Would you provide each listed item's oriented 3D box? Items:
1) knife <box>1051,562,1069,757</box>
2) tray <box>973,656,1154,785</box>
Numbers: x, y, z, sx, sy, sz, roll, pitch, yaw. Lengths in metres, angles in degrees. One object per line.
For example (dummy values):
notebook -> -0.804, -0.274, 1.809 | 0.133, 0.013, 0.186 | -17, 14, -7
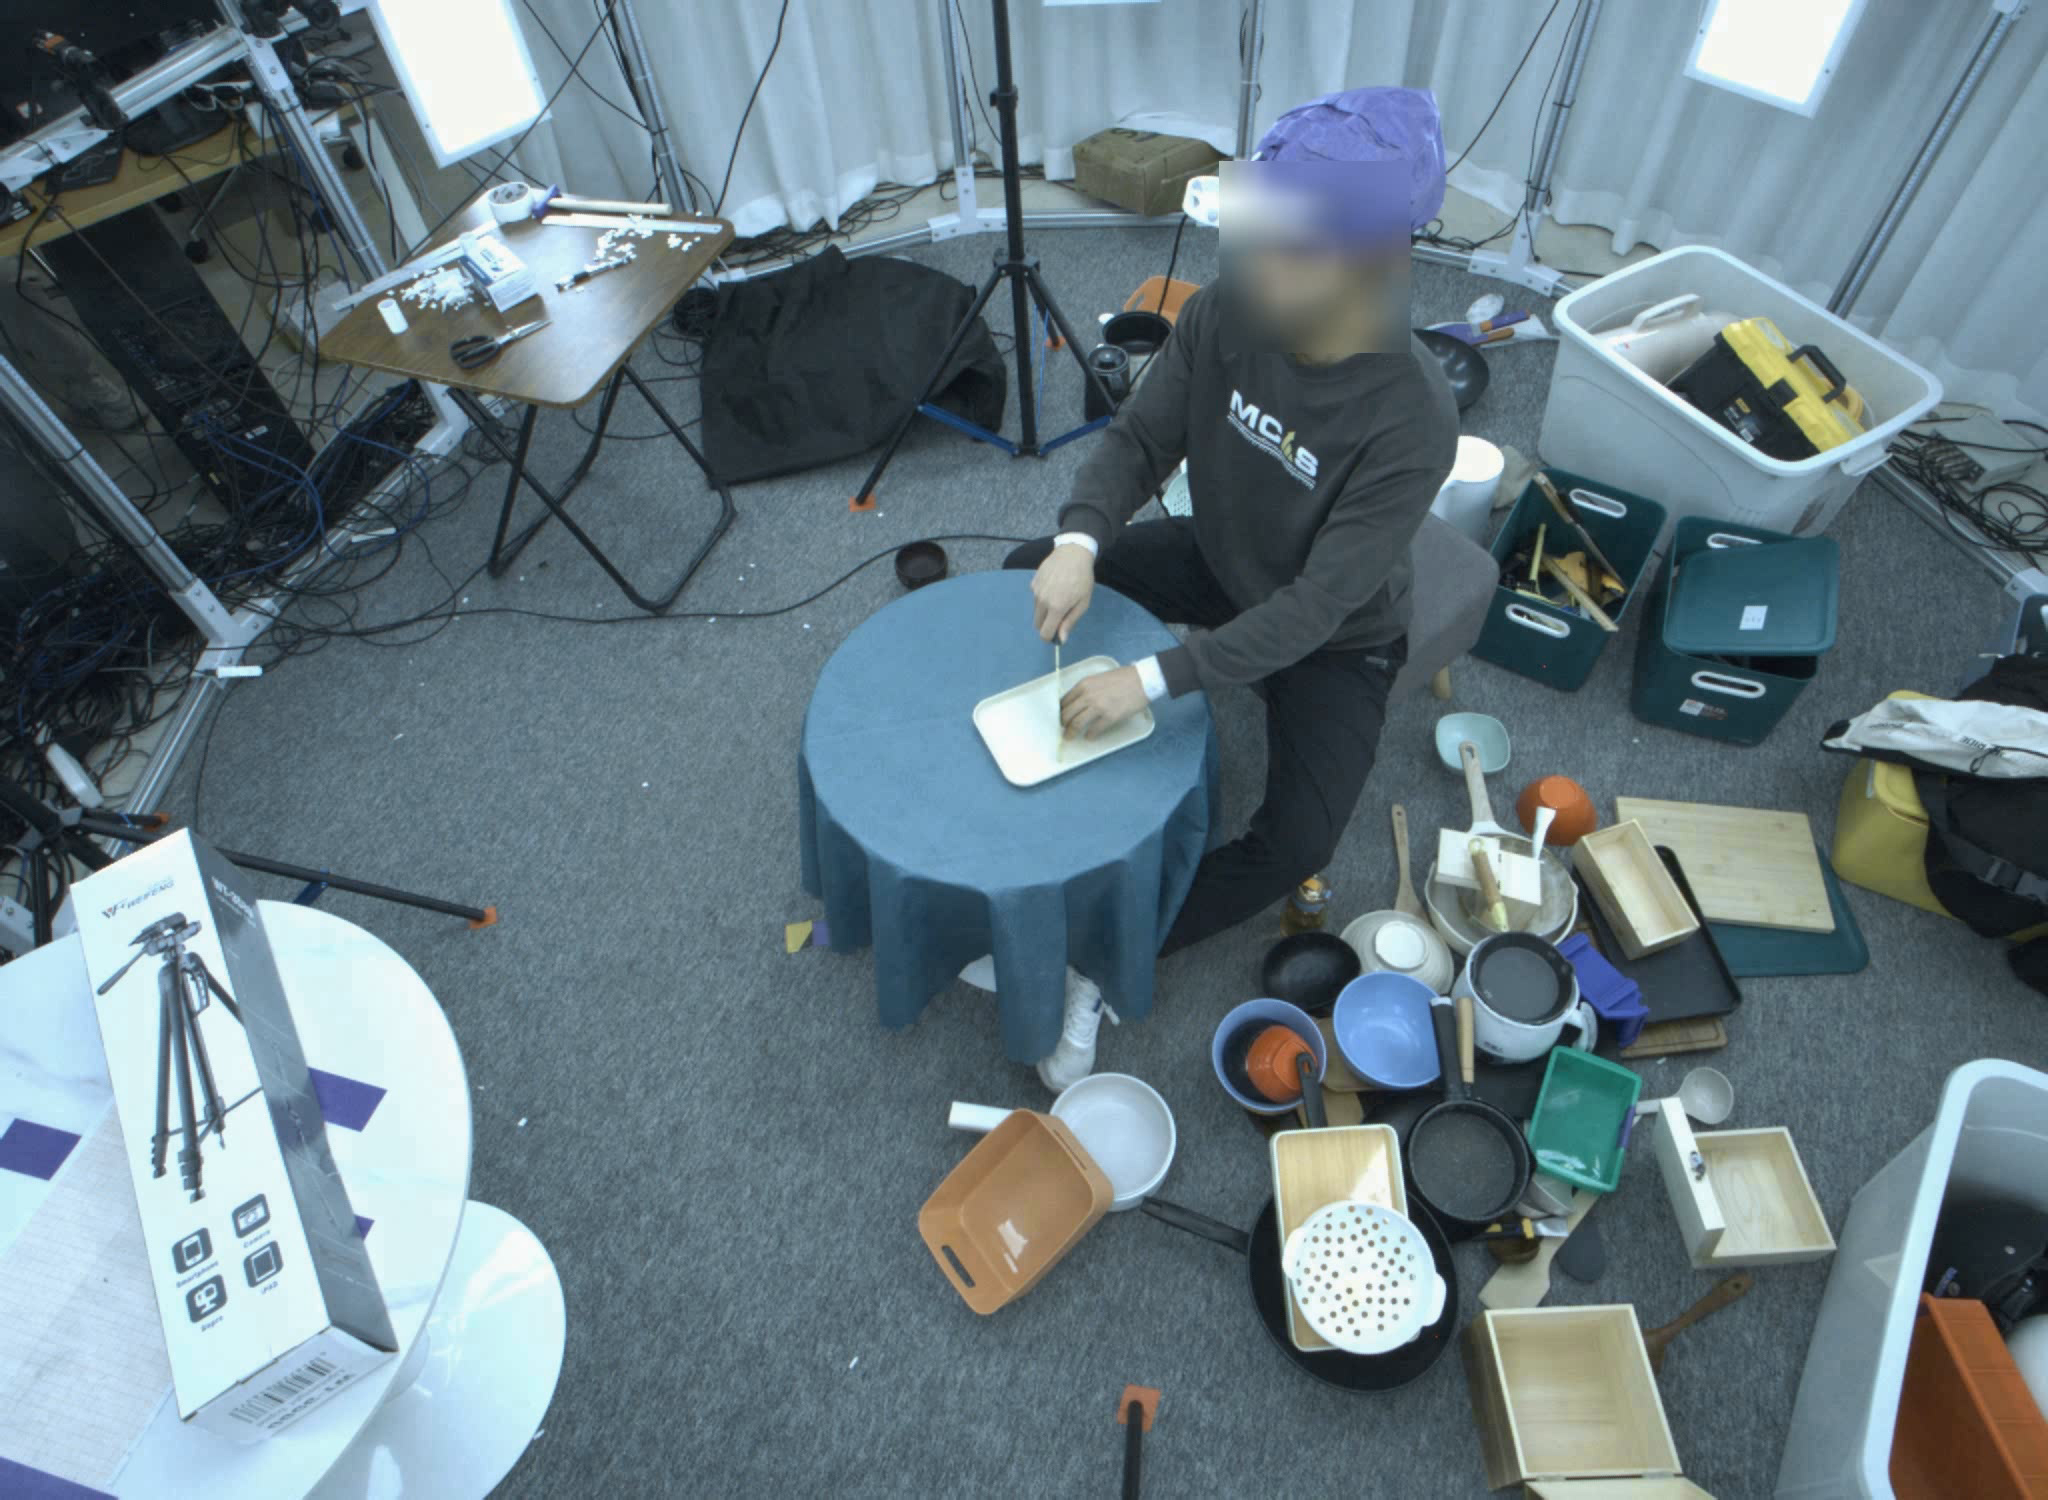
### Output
knife -> 0.051, -0.132, 1.787 | 0.027, 0.081, 0.288 | 1, 79, 0
tray -> 0.058, -0.044, 1.814 | 0.241, 0.017, 0.168 | -22, 57, -14
